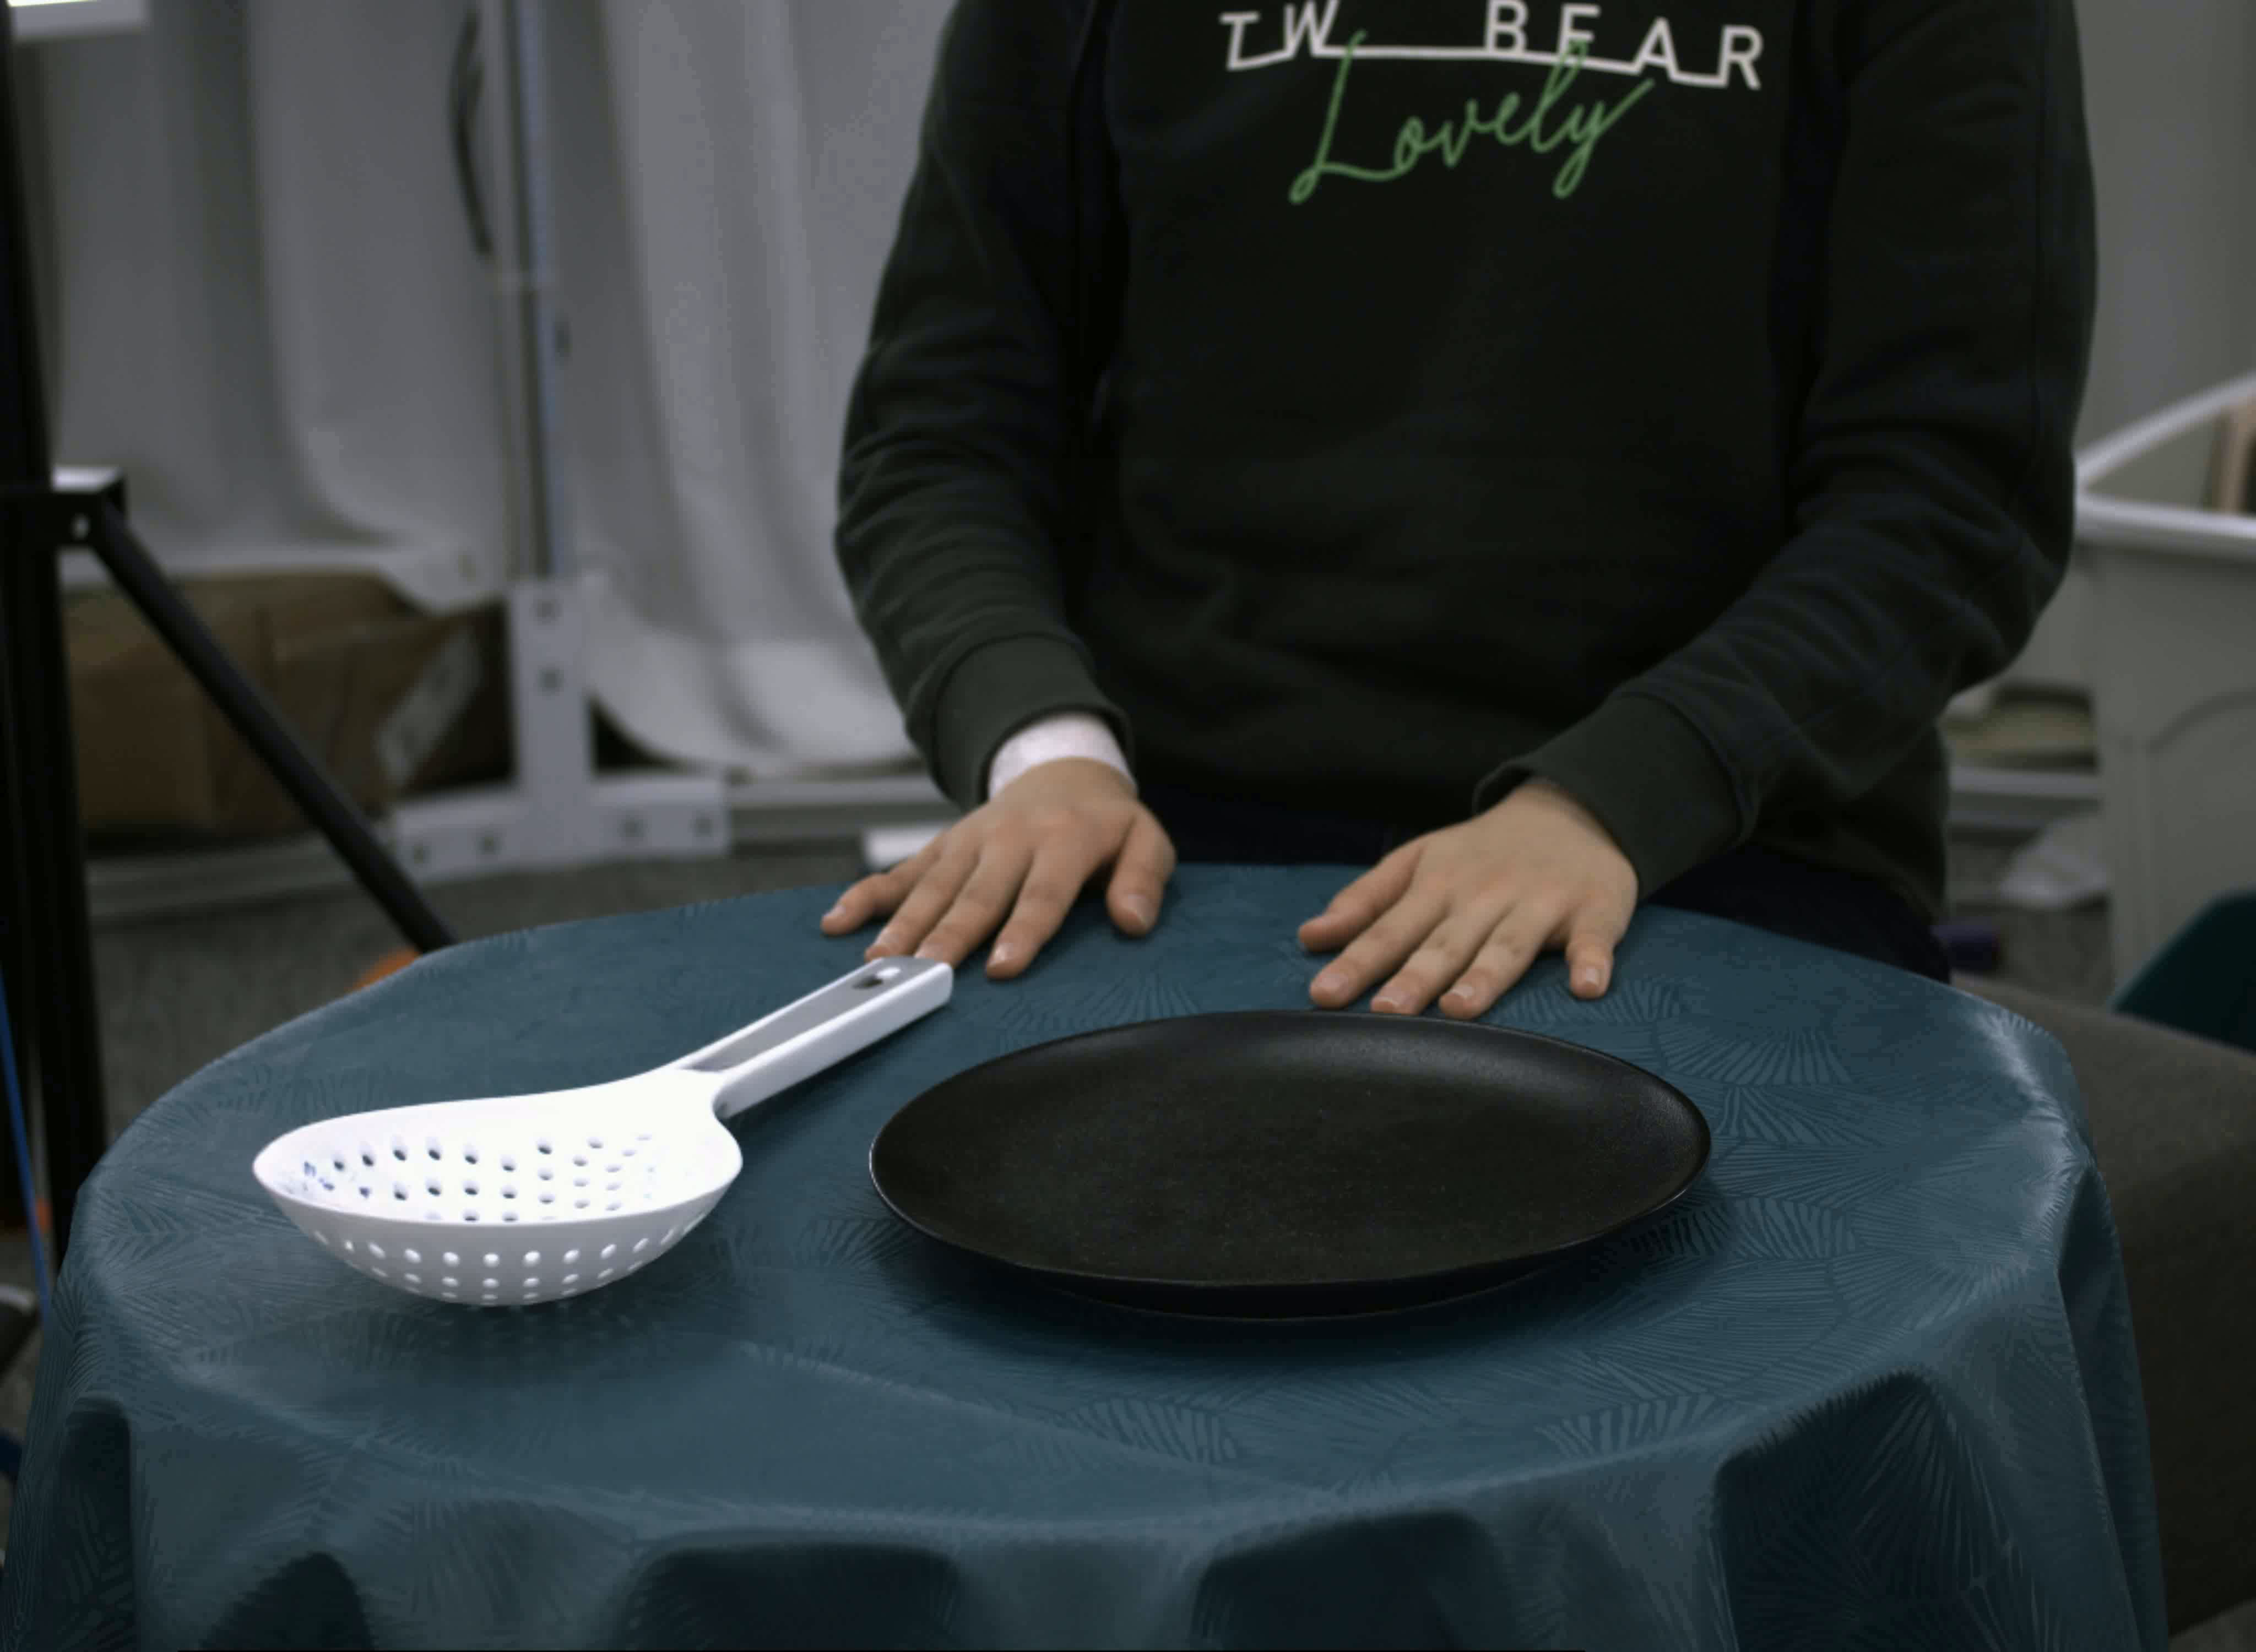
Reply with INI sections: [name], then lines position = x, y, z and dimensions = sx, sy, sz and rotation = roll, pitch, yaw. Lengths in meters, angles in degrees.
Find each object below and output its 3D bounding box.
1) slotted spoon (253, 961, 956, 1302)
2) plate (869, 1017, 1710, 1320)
[slotted spoon]
position = -0.135, 0.082, 1.591
dimensions = 0.138, 0.046, 0.345
rotation = 6, 17, 22
[plate]
position = 0.047, 0.101, 1.532
dimensions = 0.243, 0.023, 0.245
rotation = -3, 15, -1
